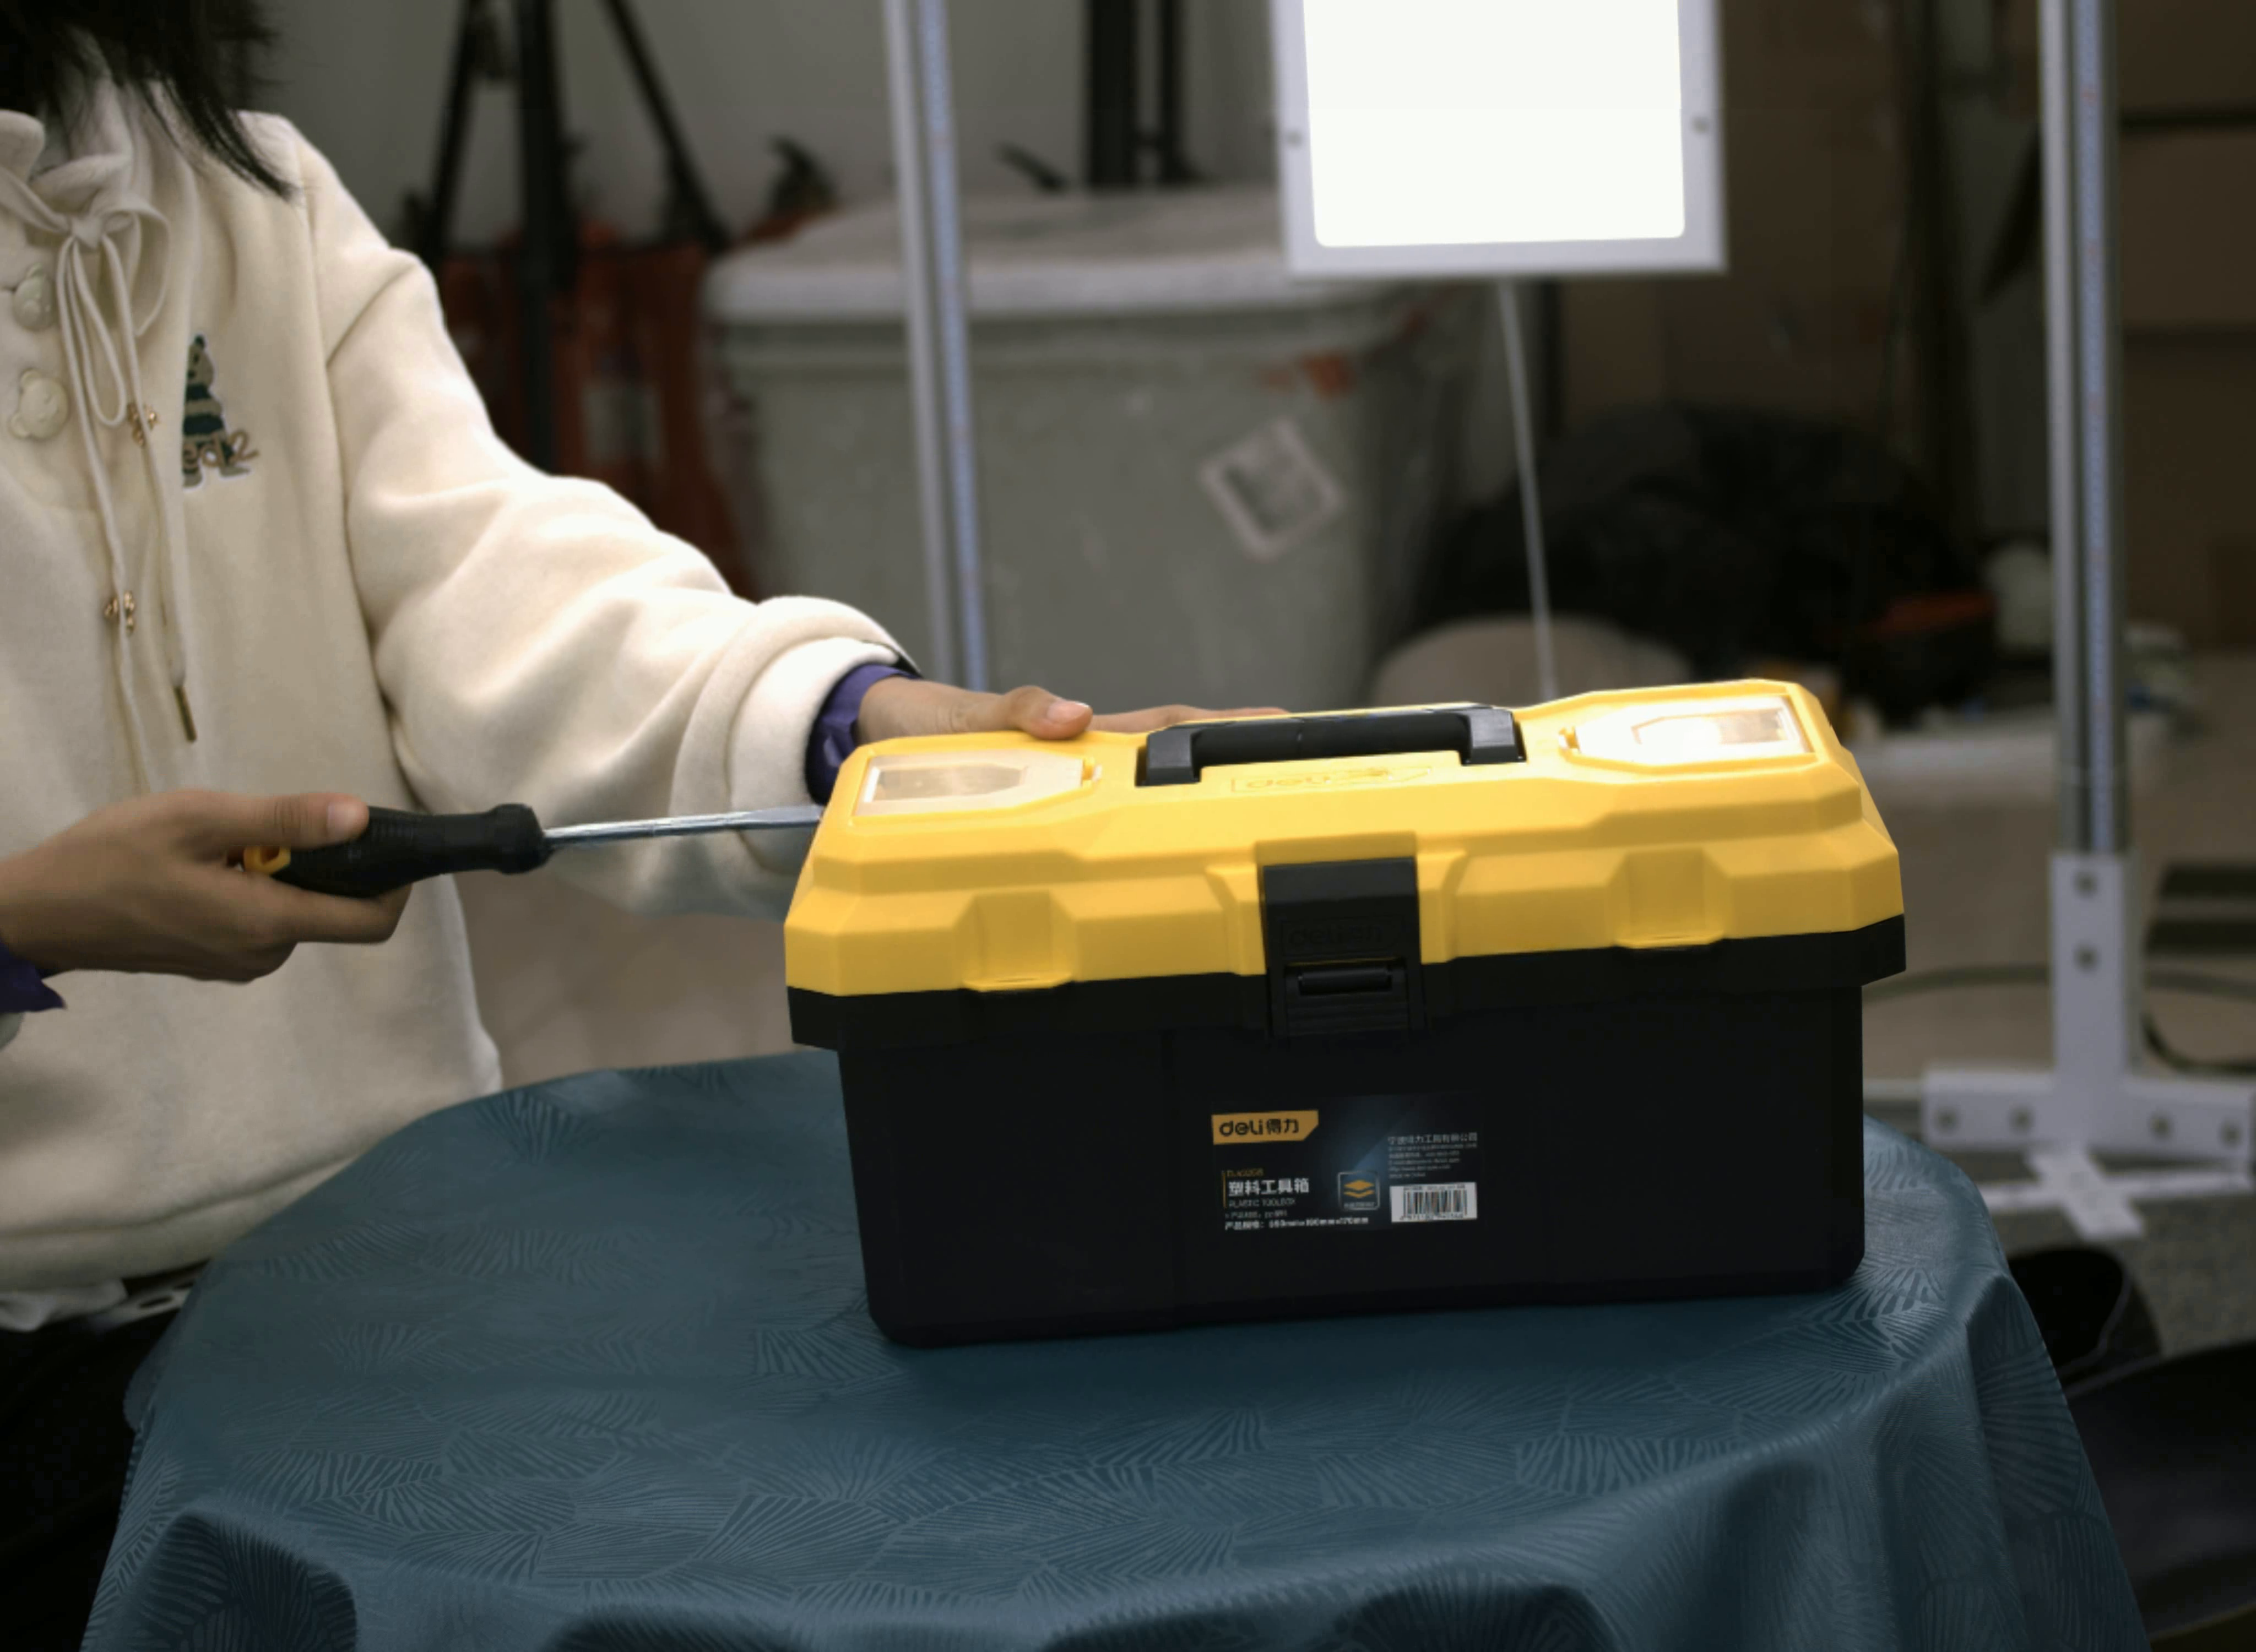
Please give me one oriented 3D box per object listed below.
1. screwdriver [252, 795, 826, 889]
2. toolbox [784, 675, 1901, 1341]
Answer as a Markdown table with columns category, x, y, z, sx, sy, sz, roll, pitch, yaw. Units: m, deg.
| category | x | y | z | sx | sy | sz | roll | pitch | yaw |
| --- | --- | --- | --- | --- | --- | --- | --- | --- | --- |
| screwdriver | -0.195 | 0.000 | 1.819 | 0.199 | 0.031 | 0.031 | -5 | 13 | 13 |
| toolbox | 0.071 | 0.059 | 1.783 | 0.352 | 0.173 | 0.180 | -4 | 14 | 5 |
